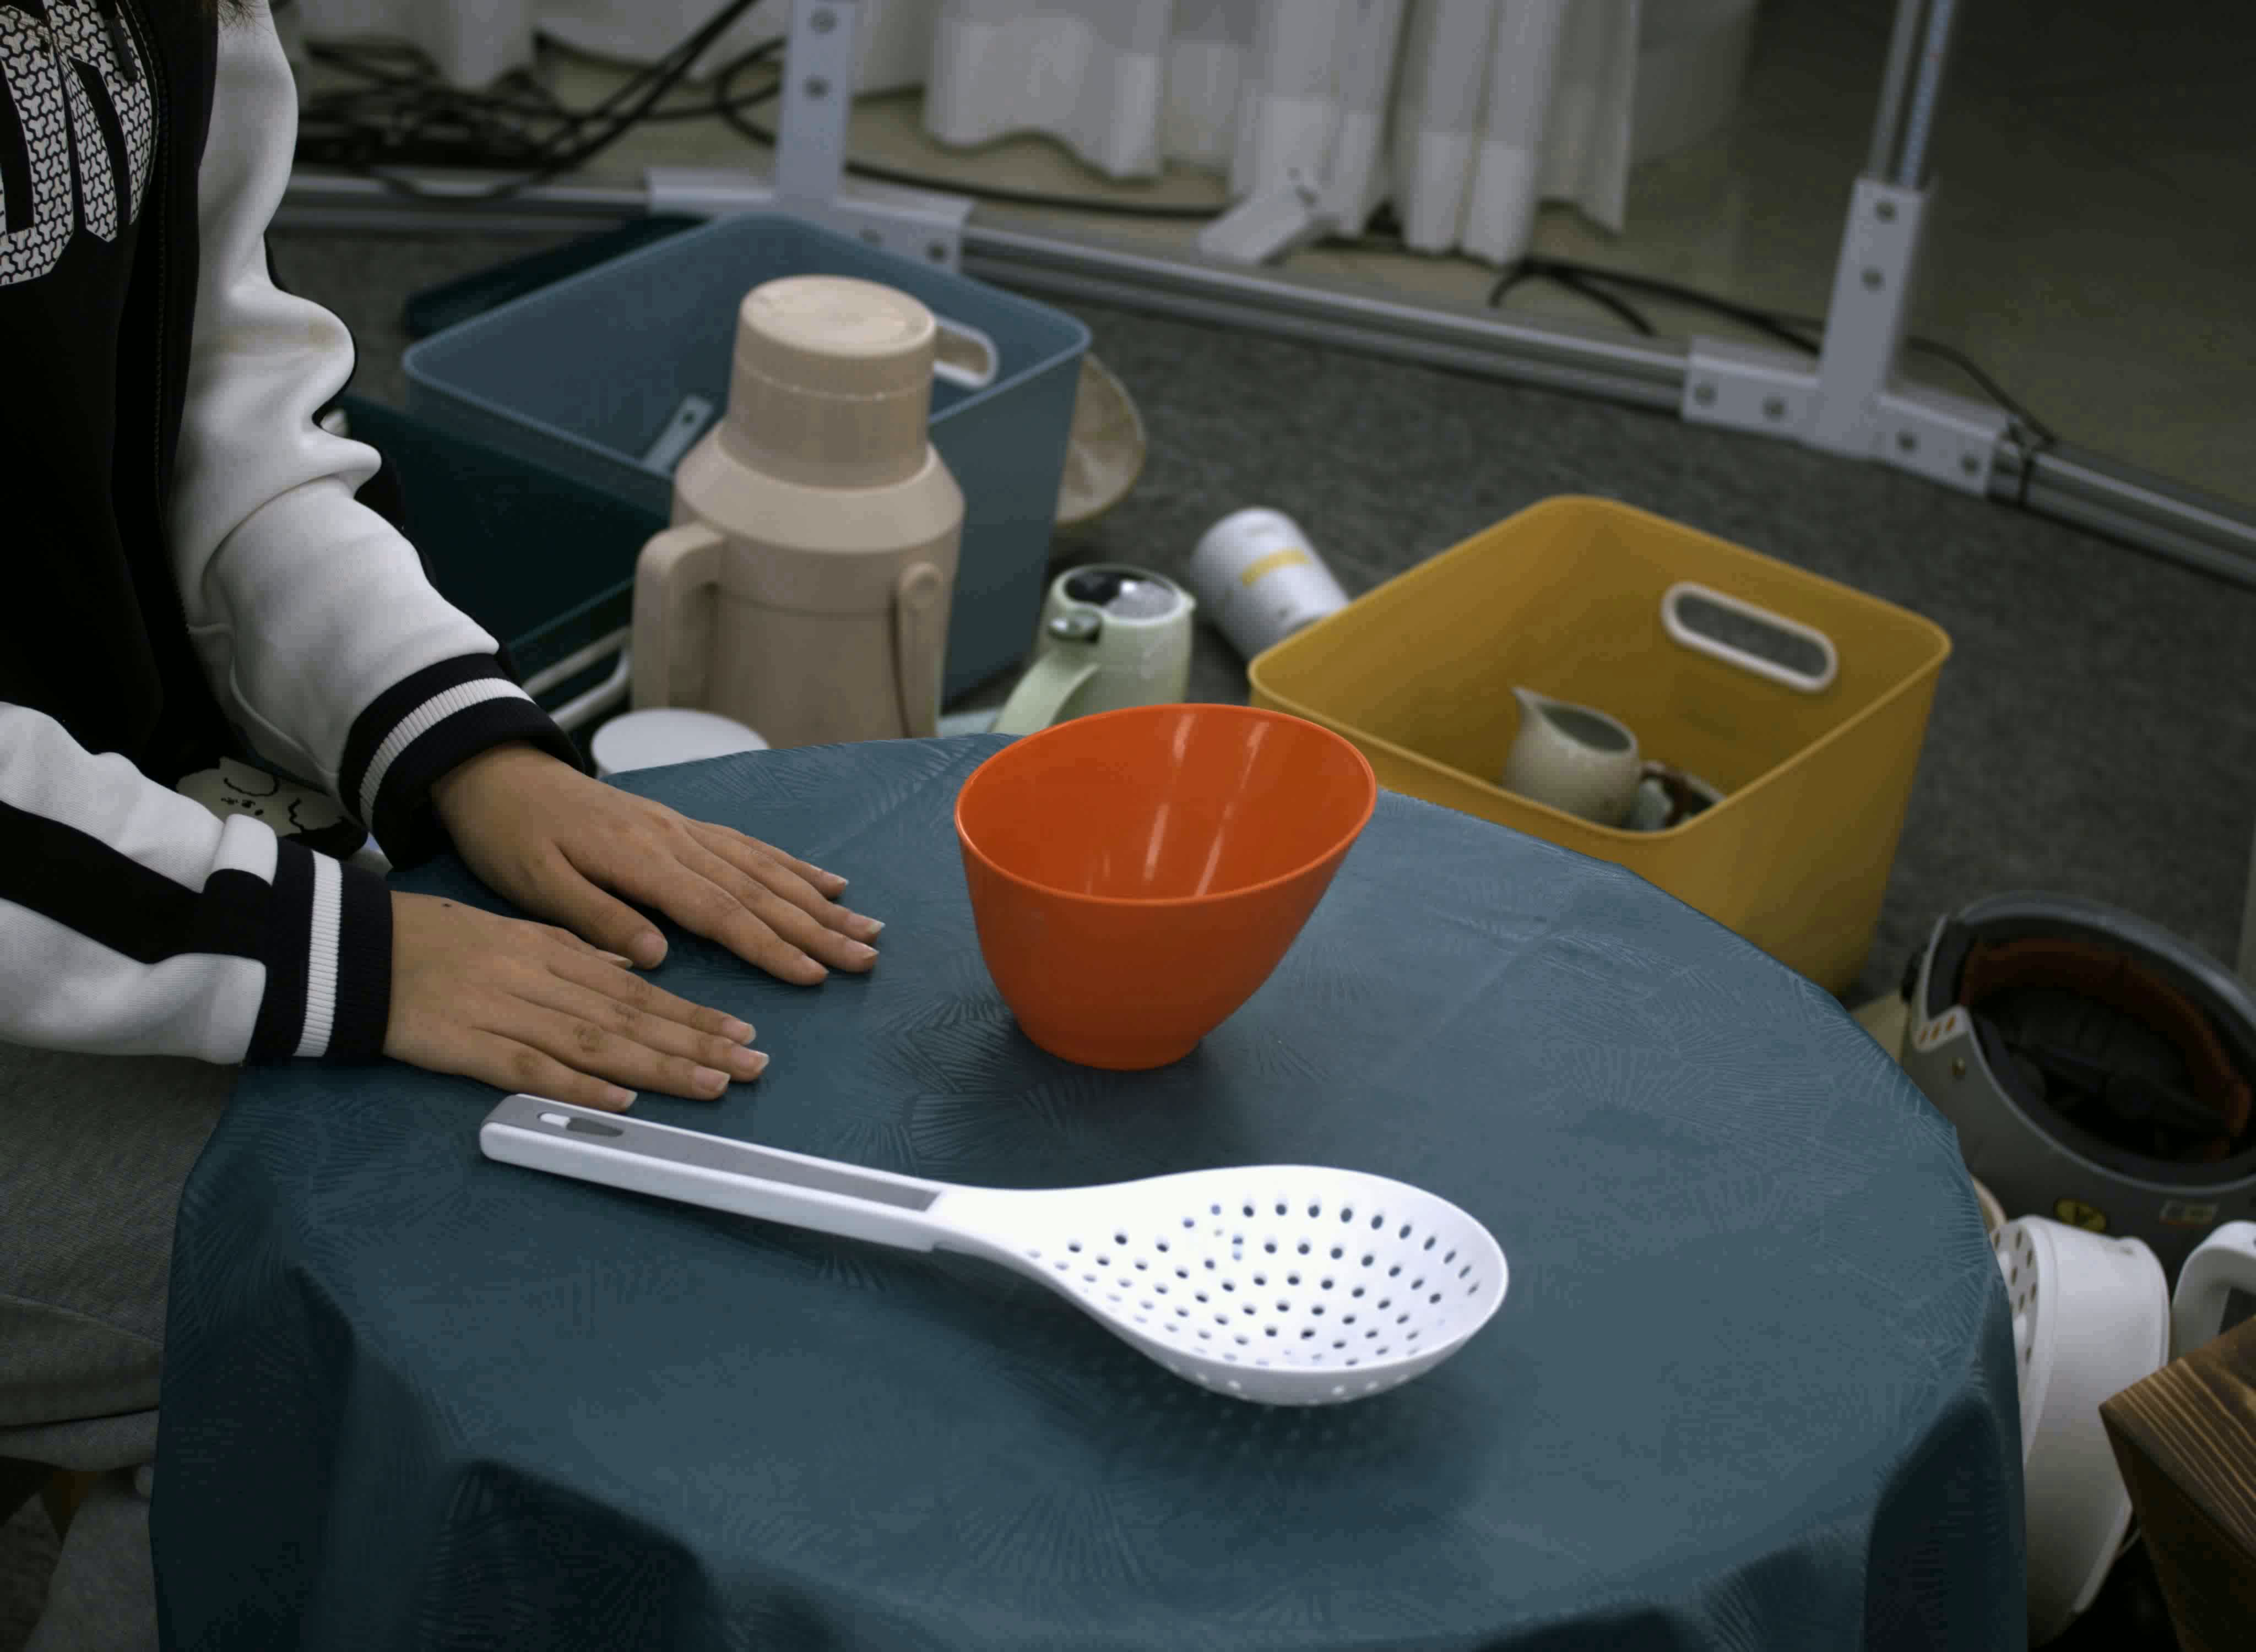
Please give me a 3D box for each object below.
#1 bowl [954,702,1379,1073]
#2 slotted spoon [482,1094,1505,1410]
[{"bbox_3d":[0.010,0.027,1.882,0.147,0.104,0.149,4,29,-3],"label":"bowl"},{"bbox_3d":[-0.049,0.130,1.730,0.350,0.045,0.136,14,26,16],"label":"slotted spoon"}]
